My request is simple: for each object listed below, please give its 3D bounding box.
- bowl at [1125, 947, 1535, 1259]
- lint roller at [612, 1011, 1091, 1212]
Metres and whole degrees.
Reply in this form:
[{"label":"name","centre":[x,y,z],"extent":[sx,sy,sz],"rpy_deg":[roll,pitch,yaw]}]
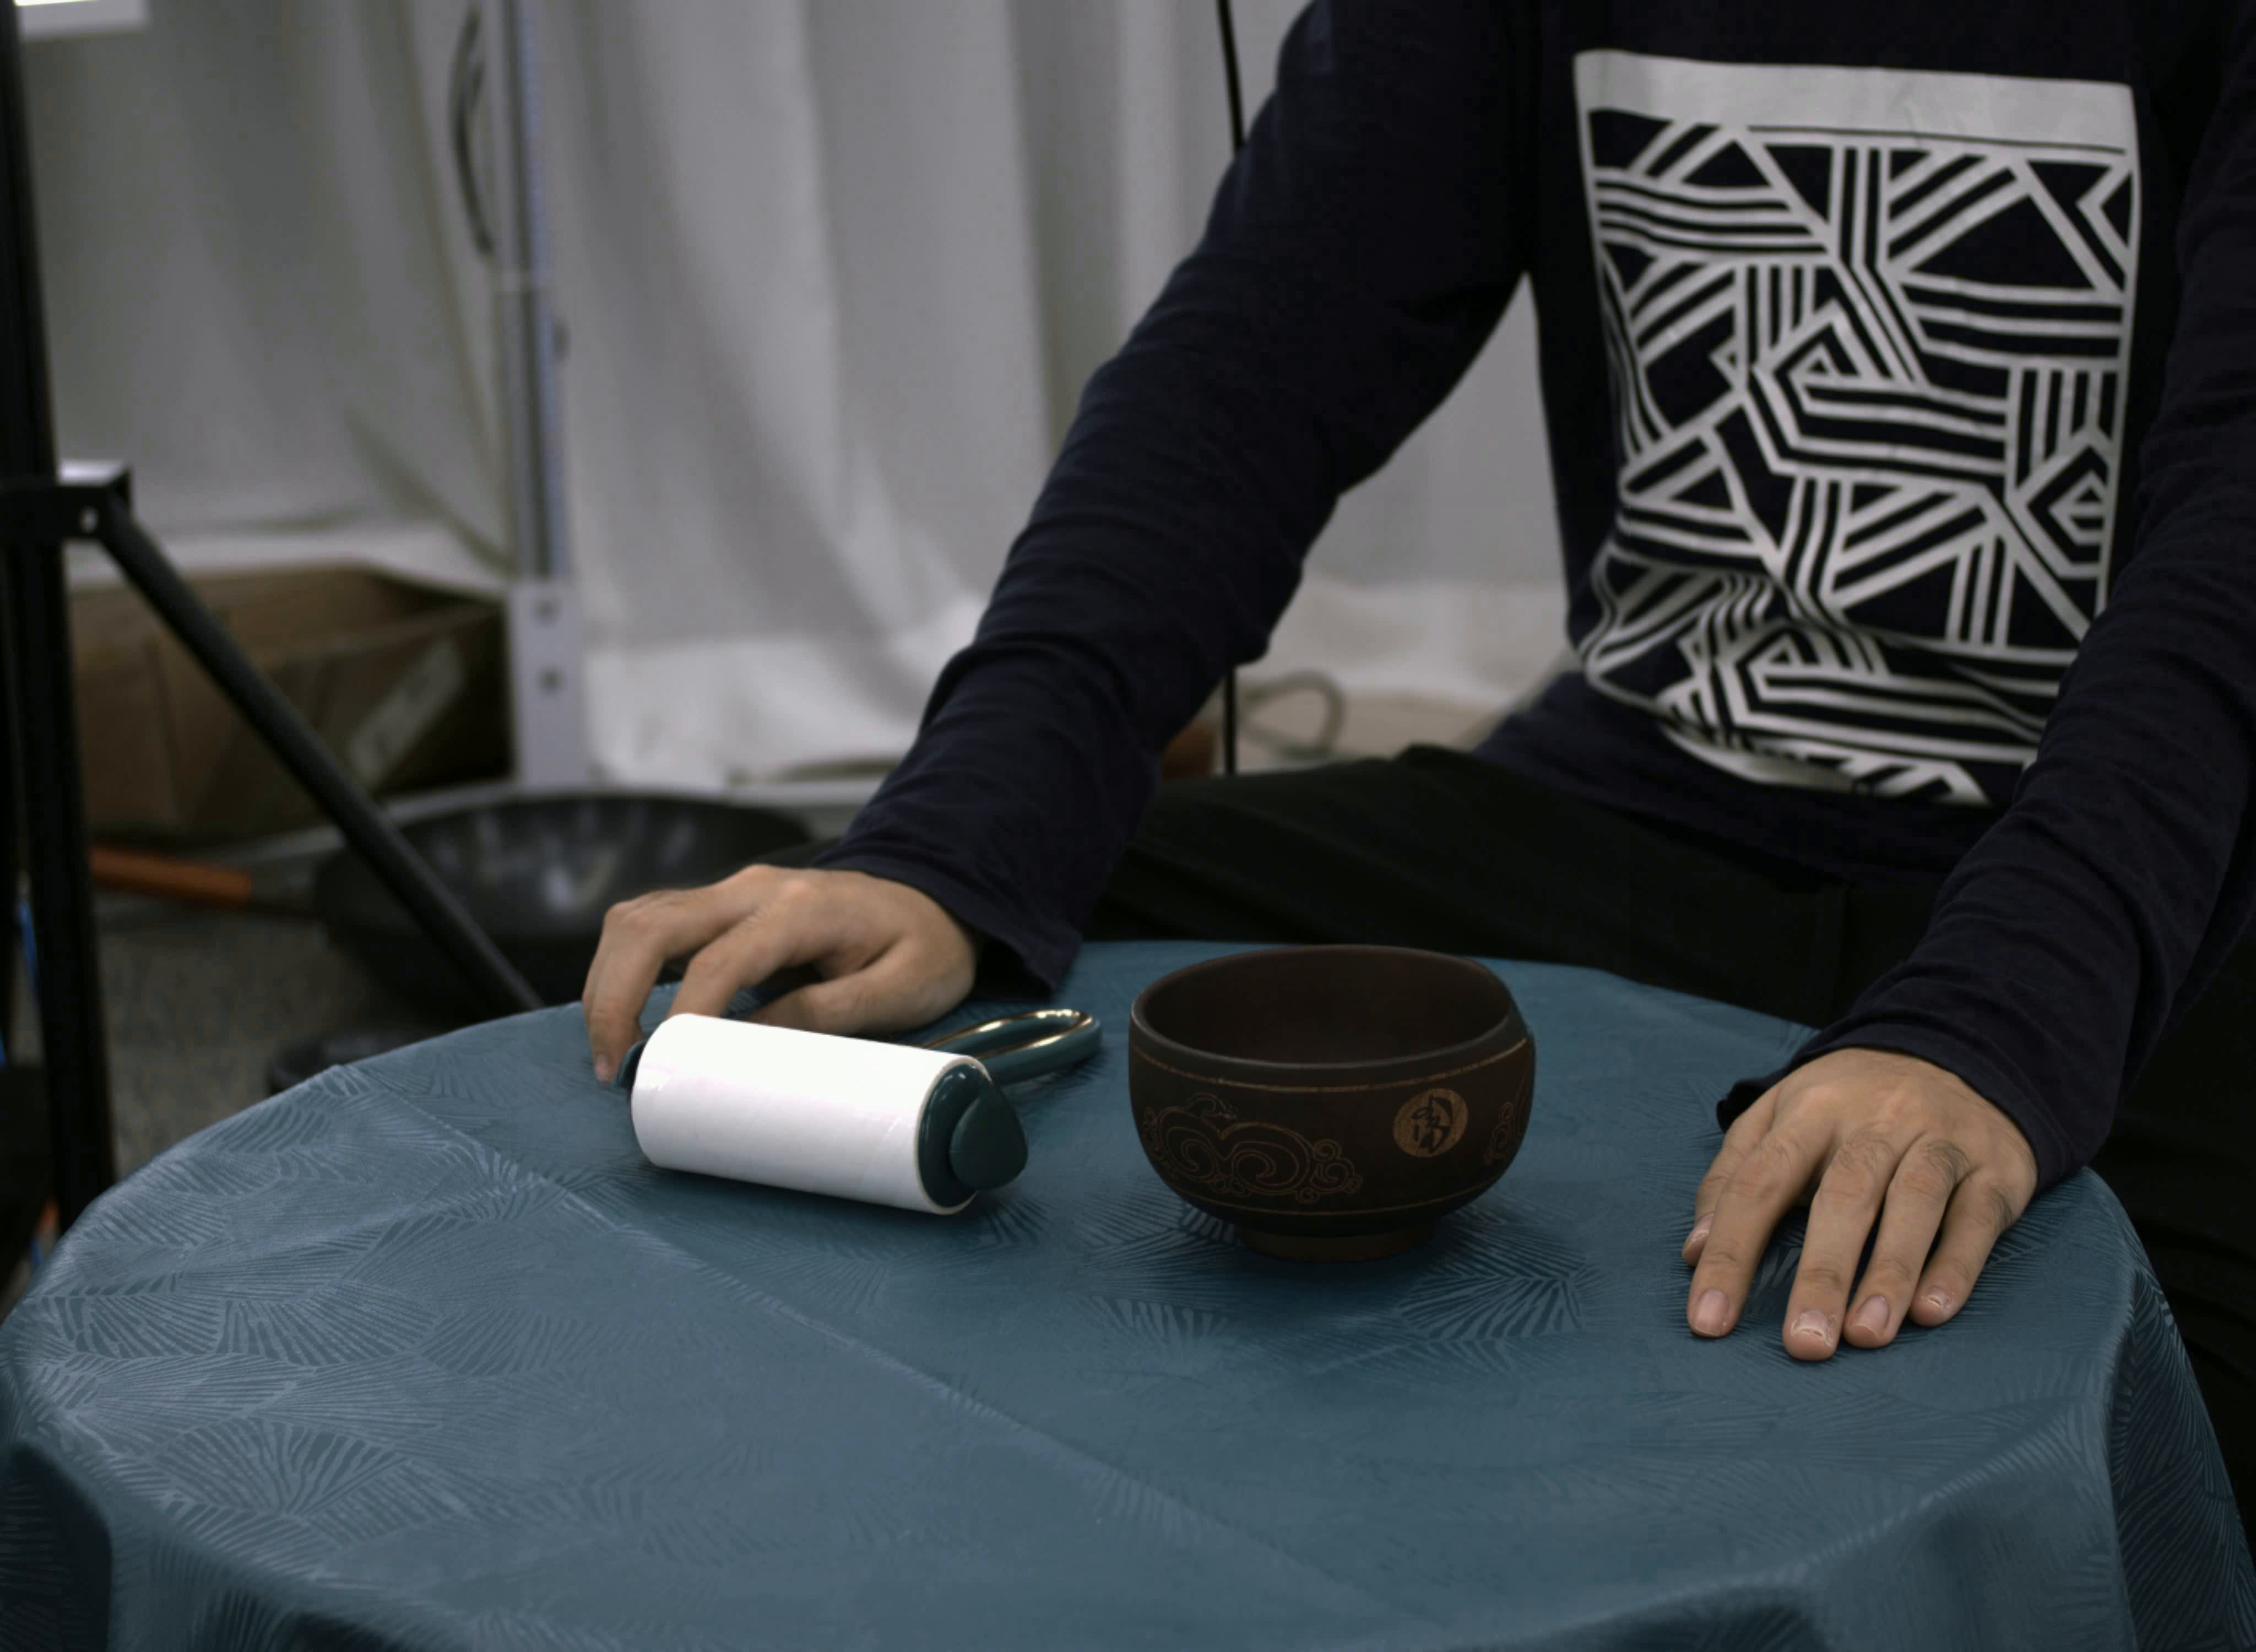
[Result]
[{"label":"bowl","centre":[0.058,0.082,1.513],"extent":[0.117,0.070,0.118],"rpy_deg":[-3,12,-1]},{"label":"lint roller","centre":[-0.061,0.072,1.628],"extent":[0.137,0.048,0.176],"rpy_deg":[7,15,30]}]
